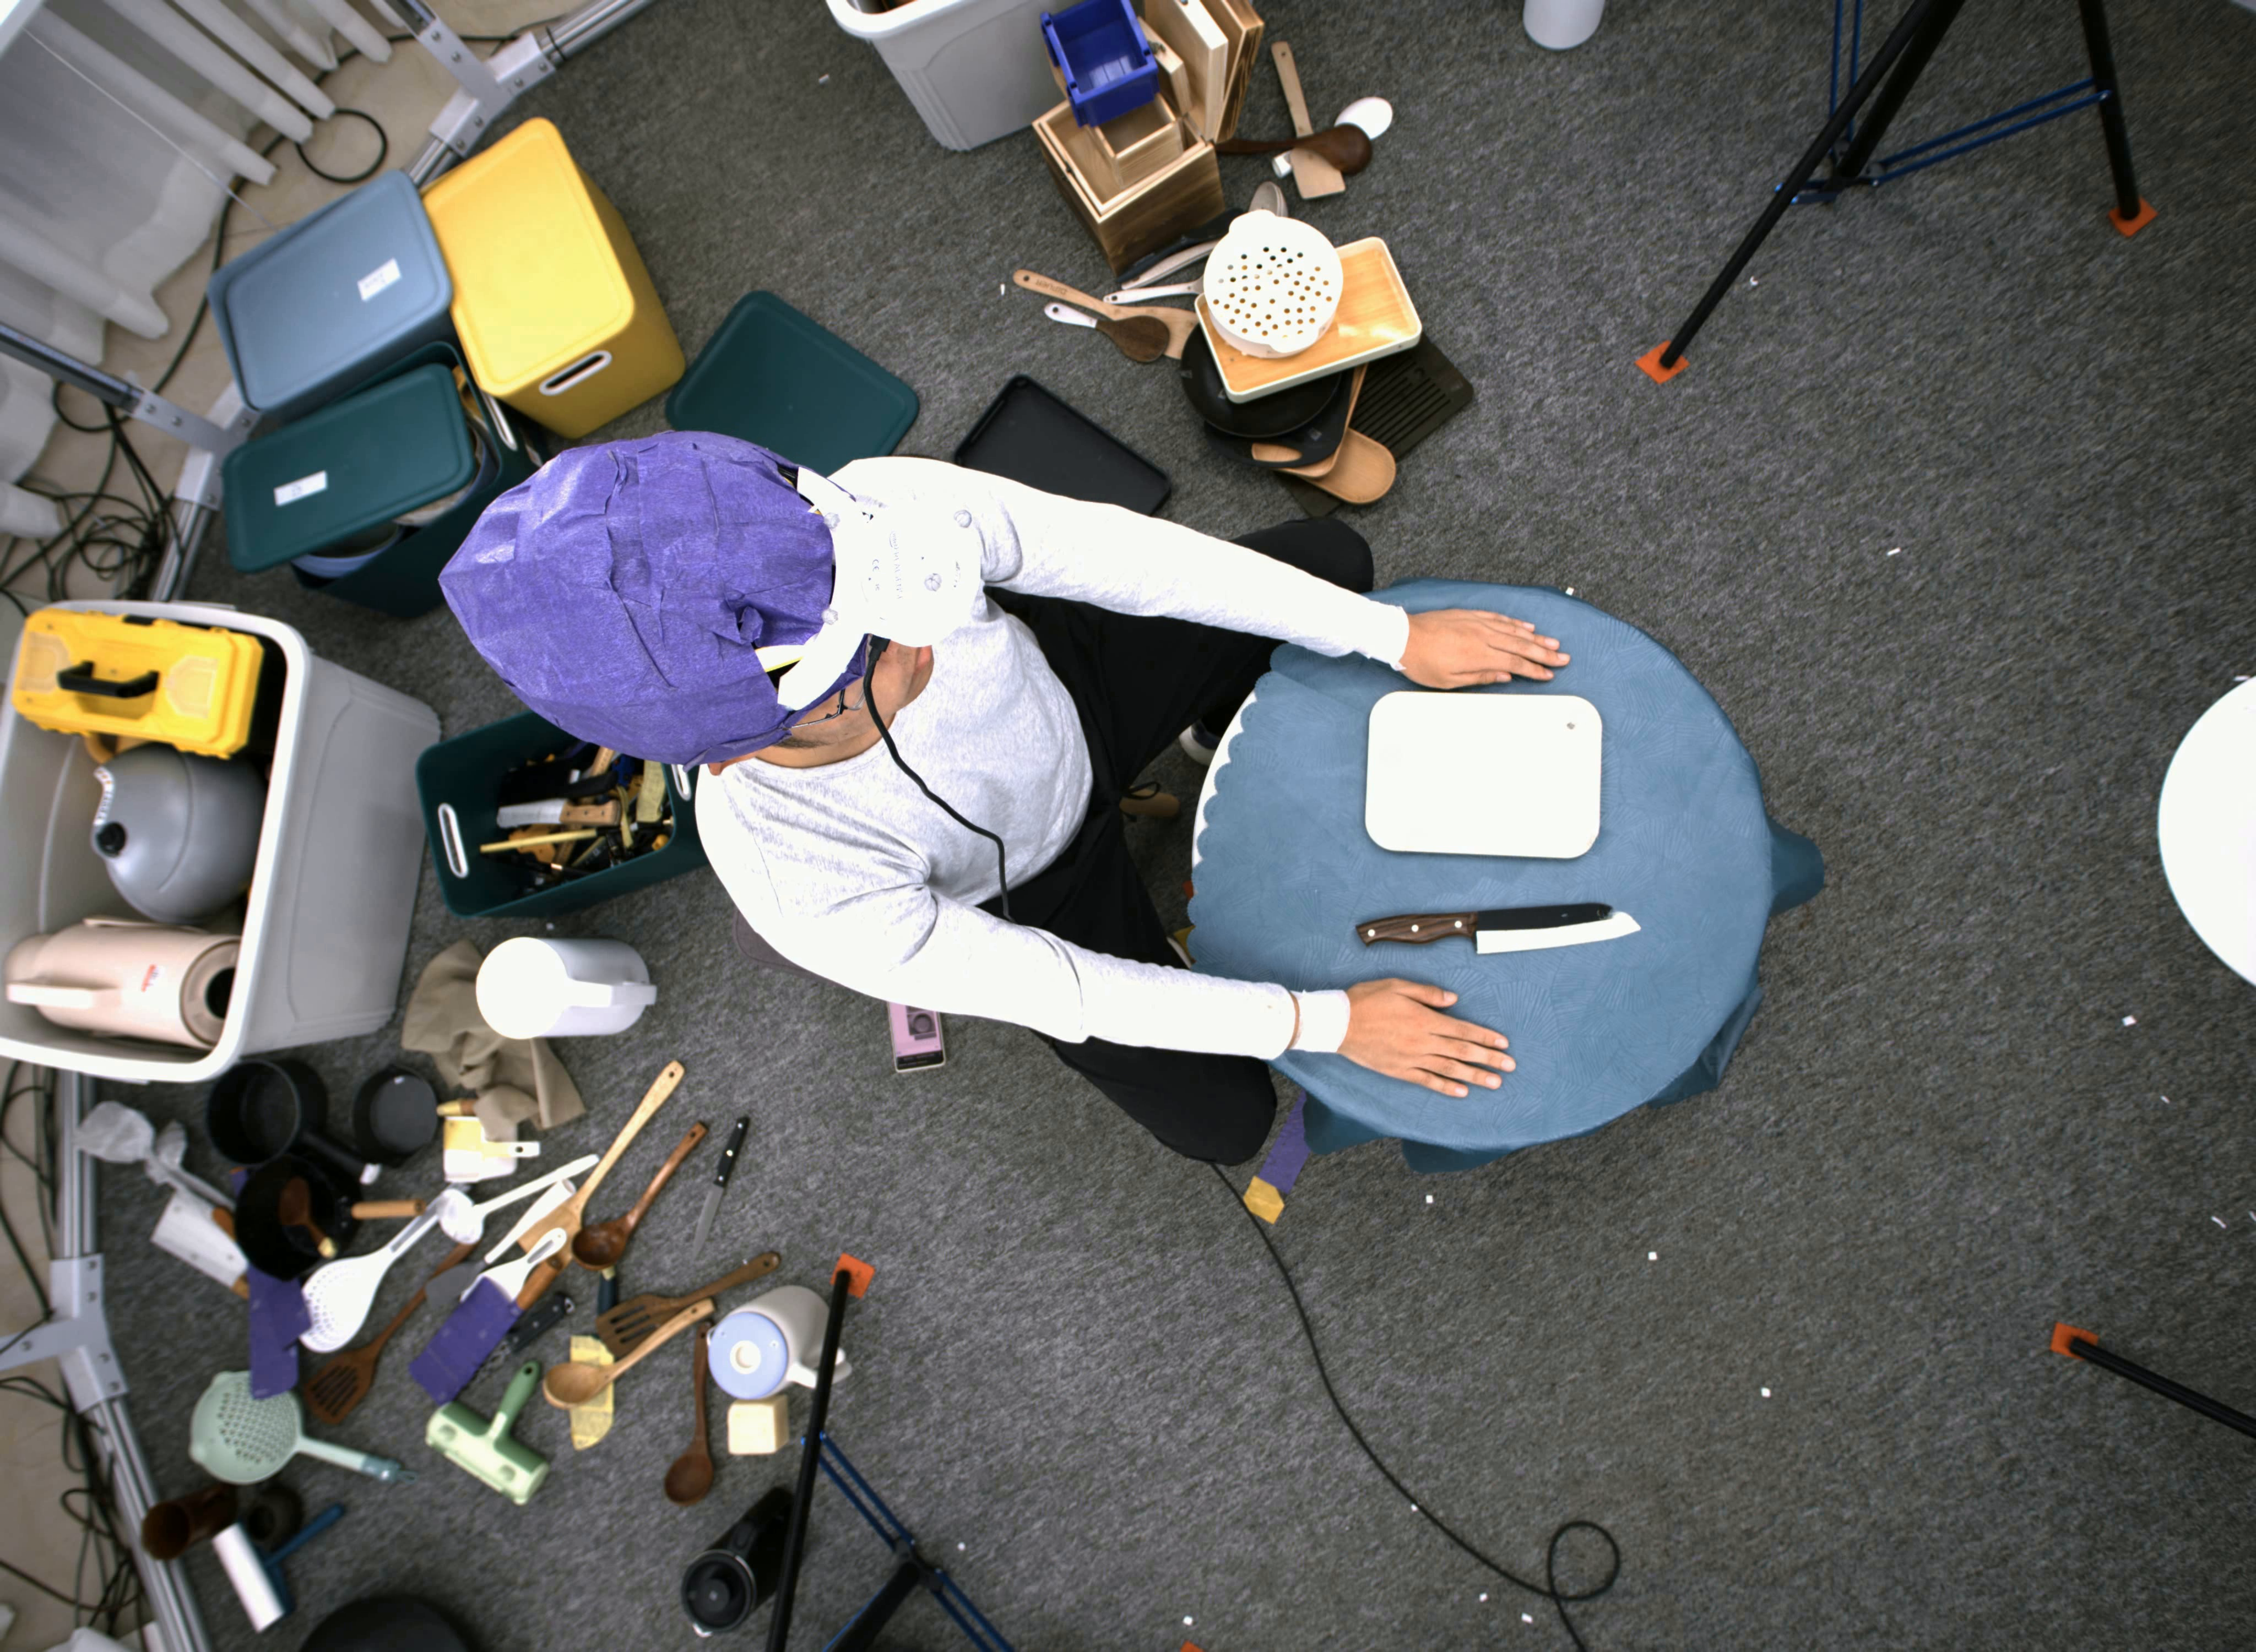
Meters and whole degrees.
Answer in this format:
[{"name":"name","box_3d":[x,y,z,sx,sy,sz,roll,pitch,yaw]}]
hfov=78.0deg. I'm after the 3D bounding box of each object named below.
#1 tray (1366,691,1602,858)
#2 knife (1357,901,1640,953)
[{"name":"tray","box_3d":[0.372,-0.057,1.439,0.240,0.017,0.170,3,87,11]},{"name":"knife","box_3d":[0.383,0.104,1.430,0.290,0.020,0.050,-3,92,8]}]
